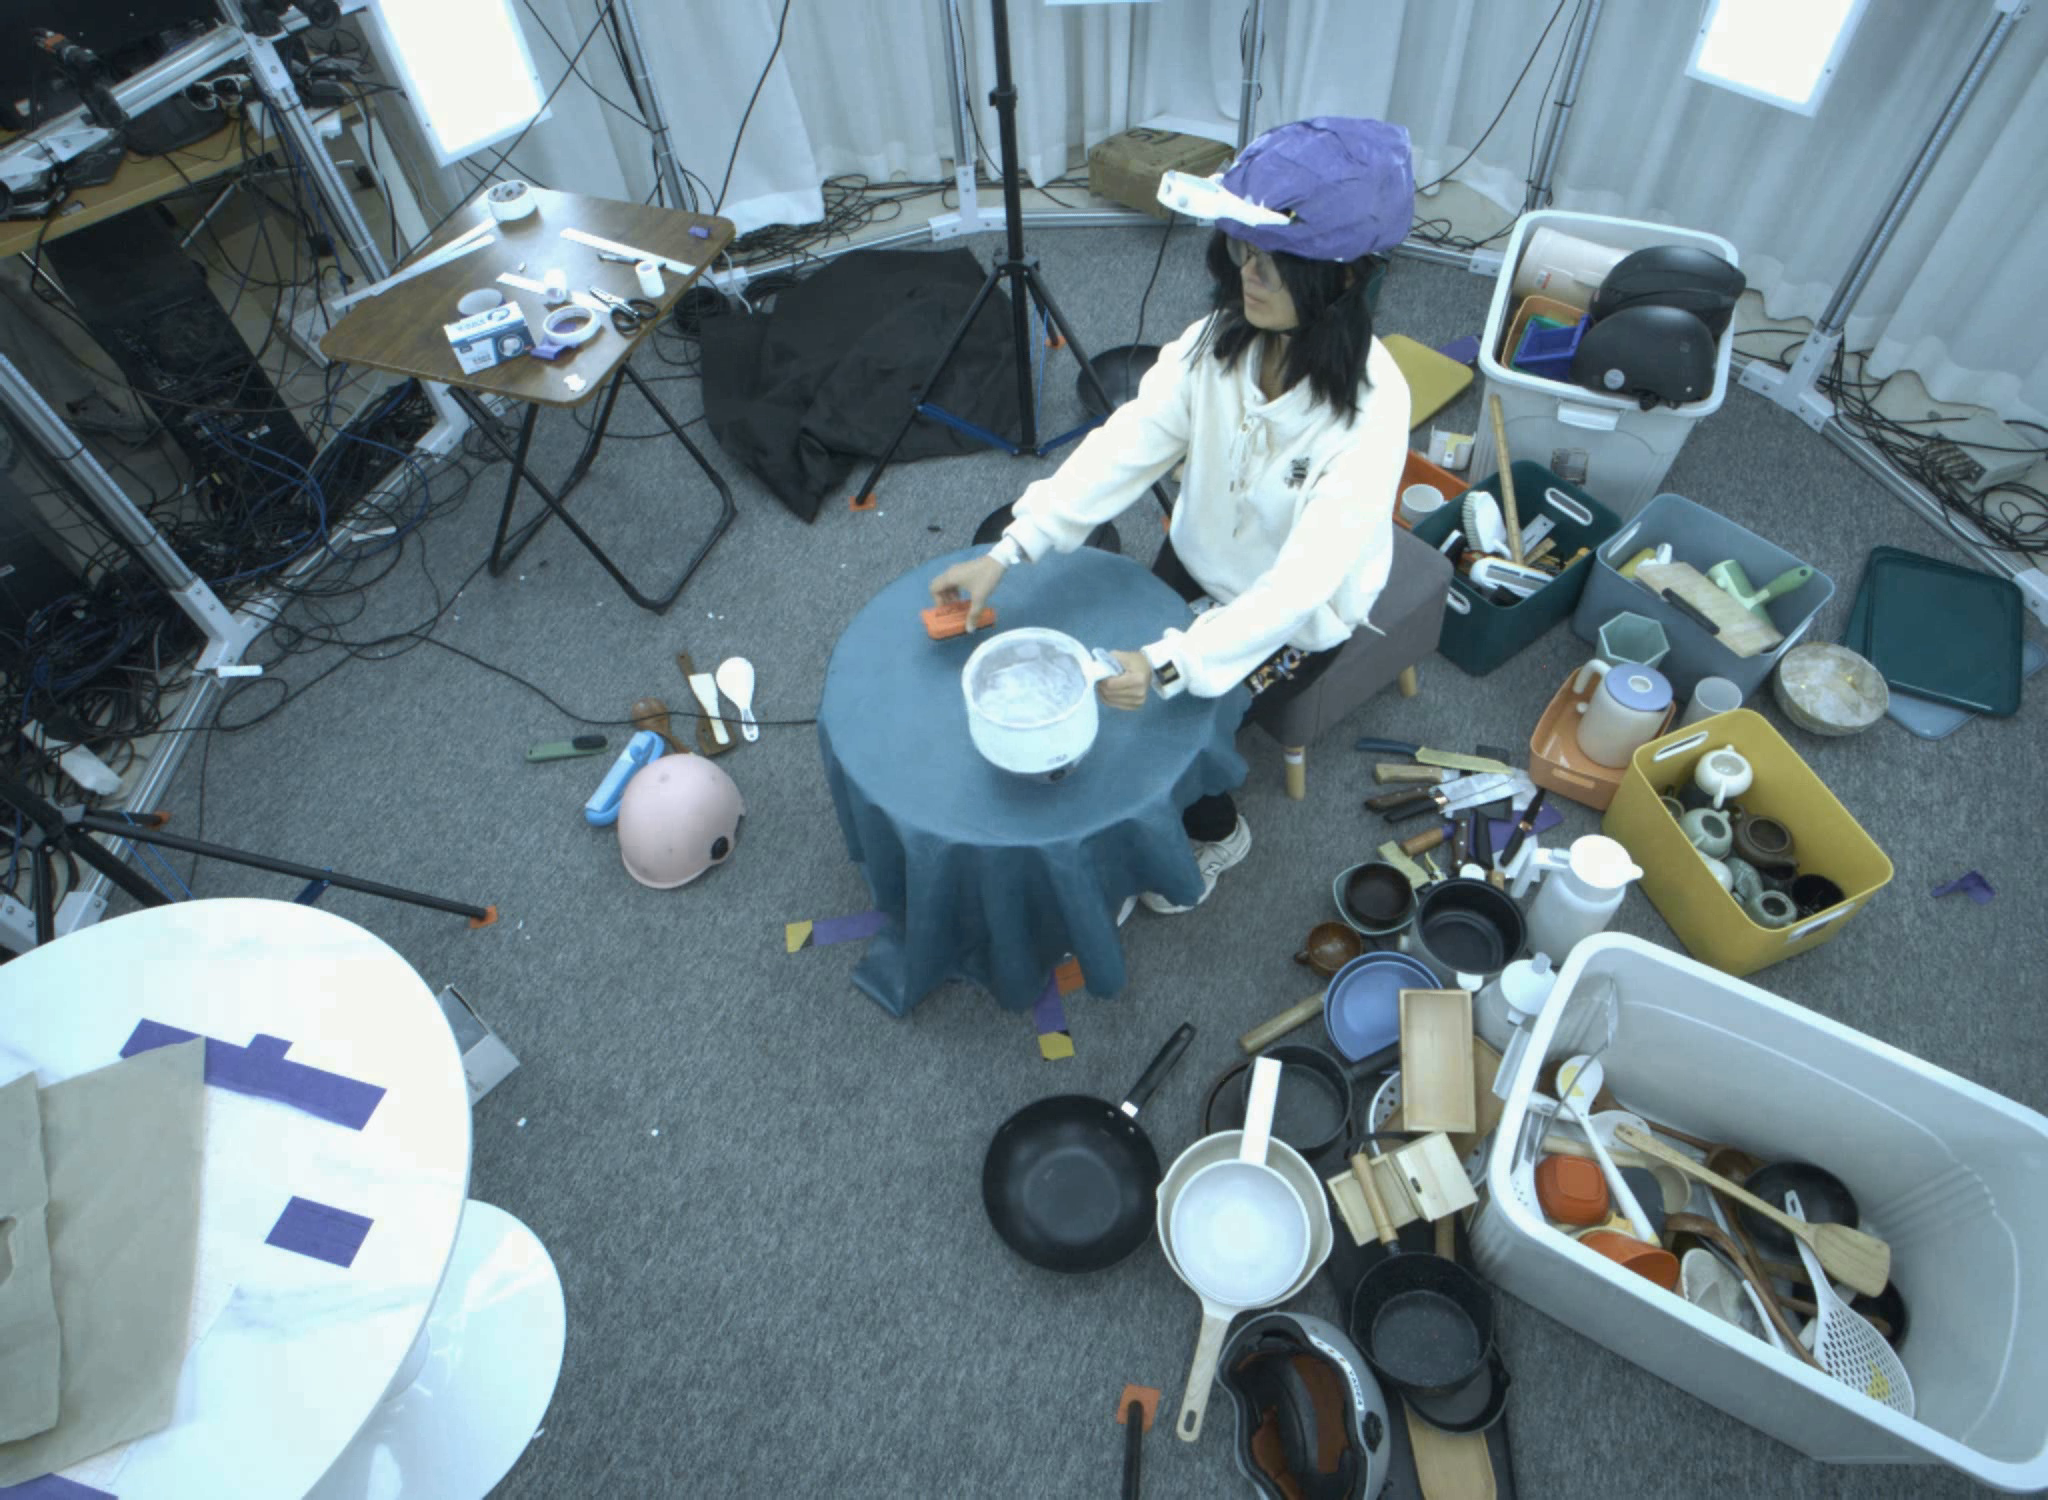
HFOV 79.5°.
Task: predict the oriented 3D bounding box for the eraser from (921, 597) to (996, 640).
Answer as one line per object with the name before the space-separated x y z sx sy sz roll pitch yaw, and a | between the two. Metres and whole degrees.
eraser | -0.100 -0.202 1.871 0.109 0.023 0.058 -17 45 -28

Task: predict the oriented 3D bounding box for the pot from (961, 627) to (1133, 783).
pot | 0.036 -0.070 1.679 0.235 0.138 0.175 -22 56 -10
